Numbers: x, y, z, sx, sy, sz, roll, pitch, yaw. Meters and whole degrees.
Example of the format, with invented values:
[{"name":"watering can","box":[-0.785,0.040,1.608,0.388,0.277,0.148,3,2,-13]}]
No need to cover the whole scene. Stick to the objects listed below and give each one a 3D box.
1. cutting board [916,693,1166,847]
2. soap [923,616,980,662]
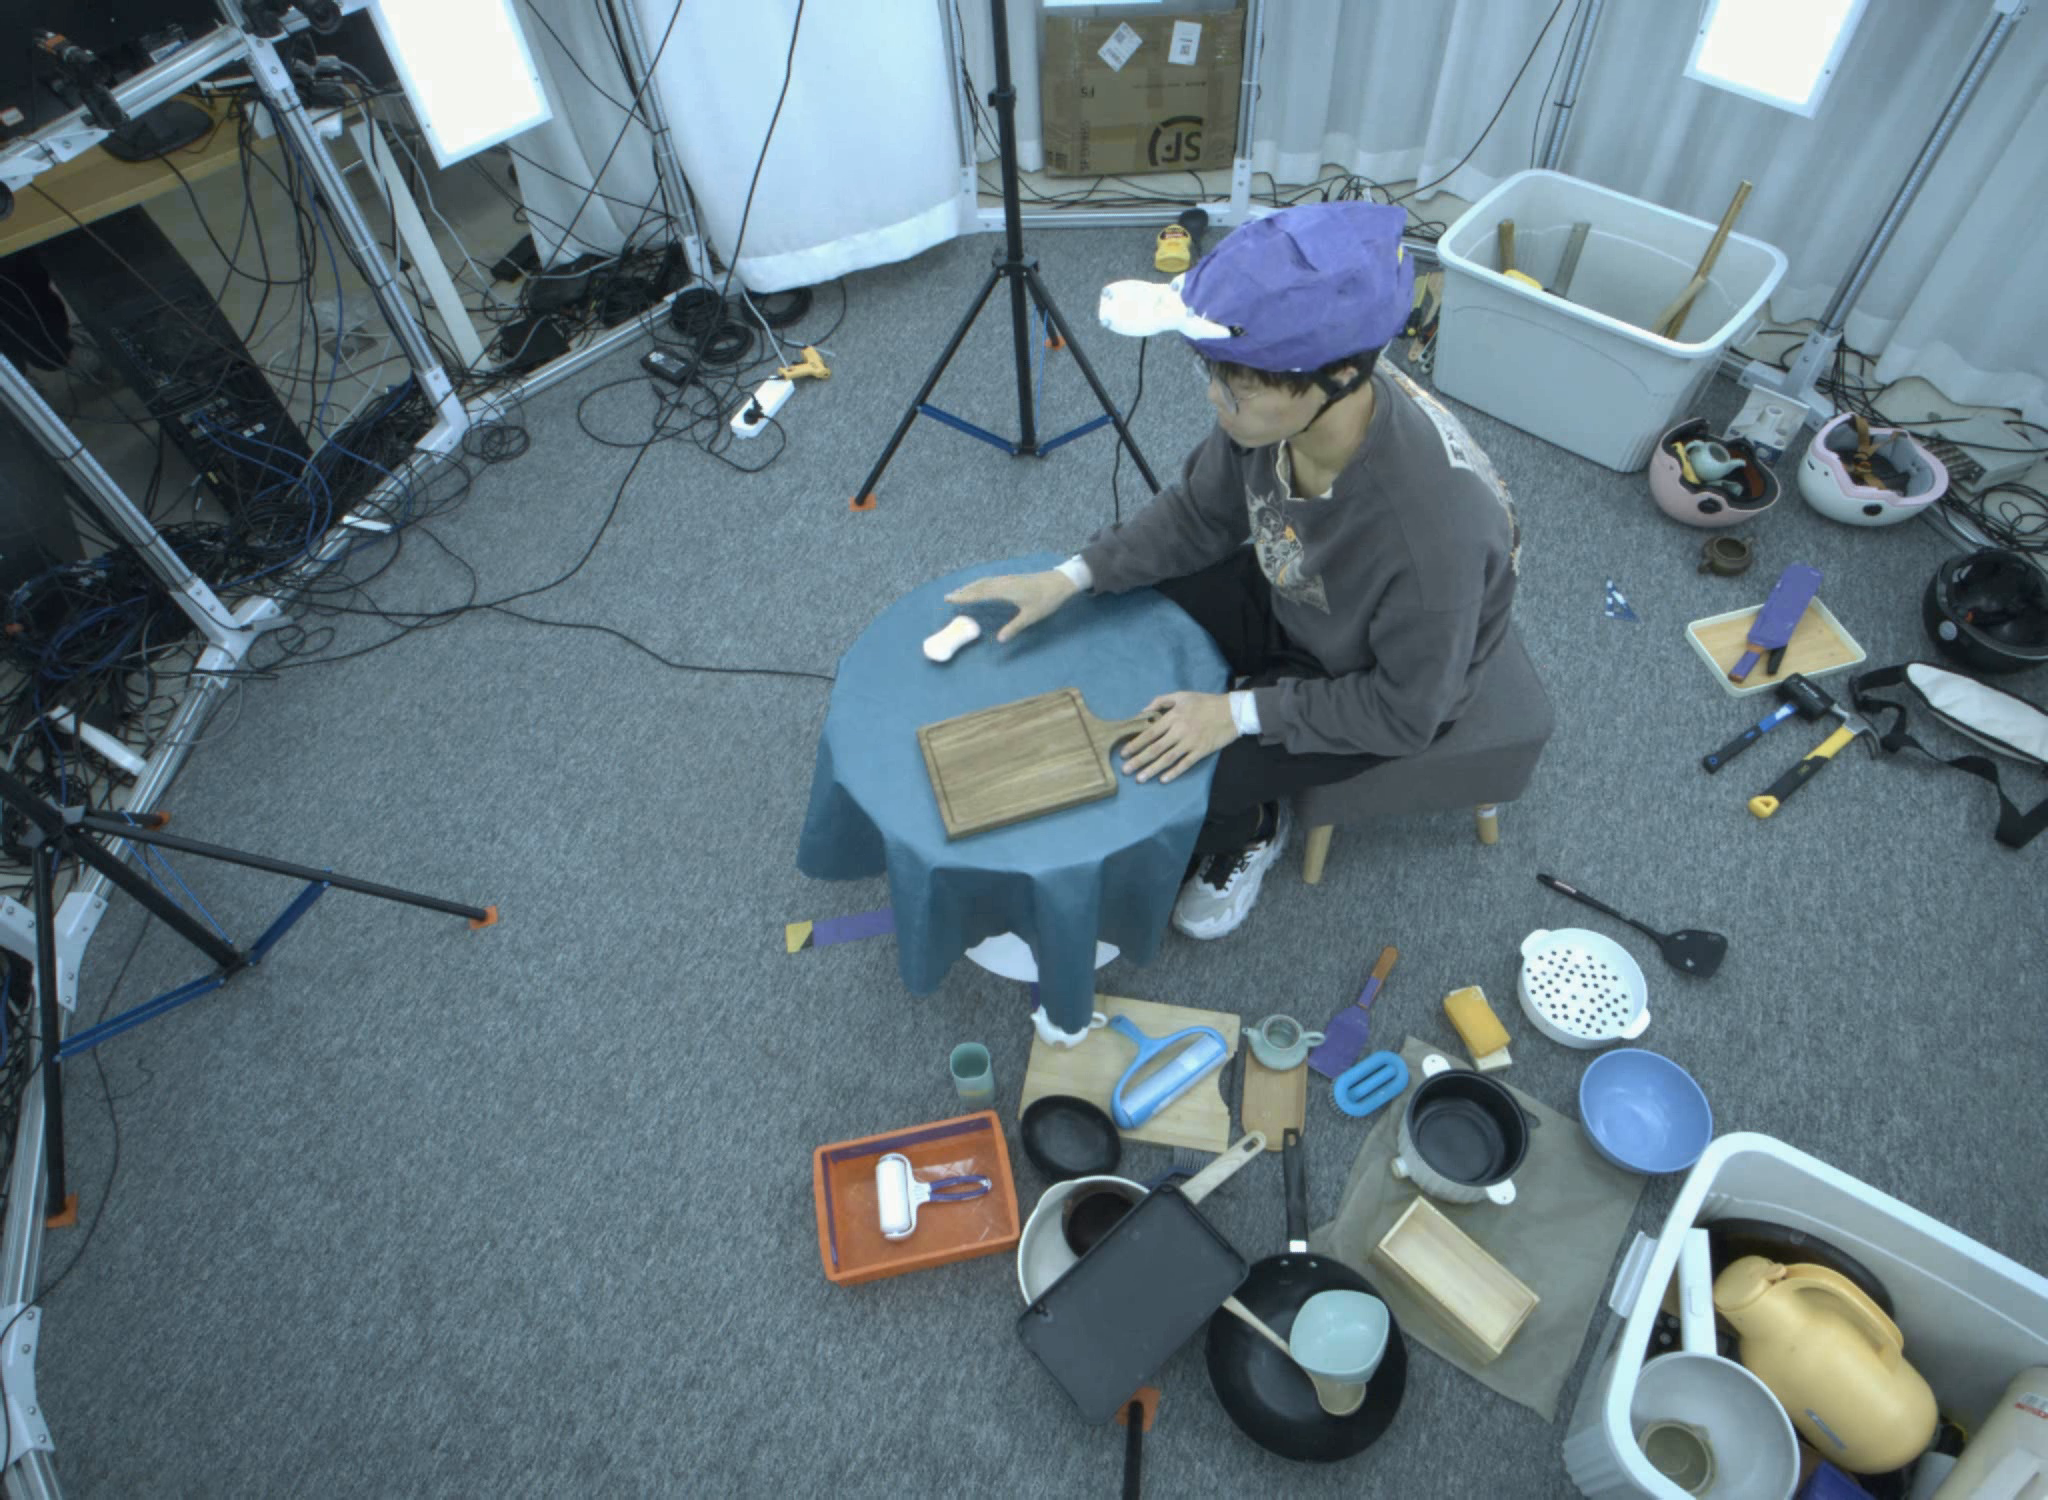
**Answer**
[{"name":"cutting board","box":[0.036,0.012,1.762,0.354,0.023,0.198,-14,55,-8]},{"name":"soap","box":[-0.112,-0.172,1.895,0.095,0.031,0.049,-39,62,-25]}]
